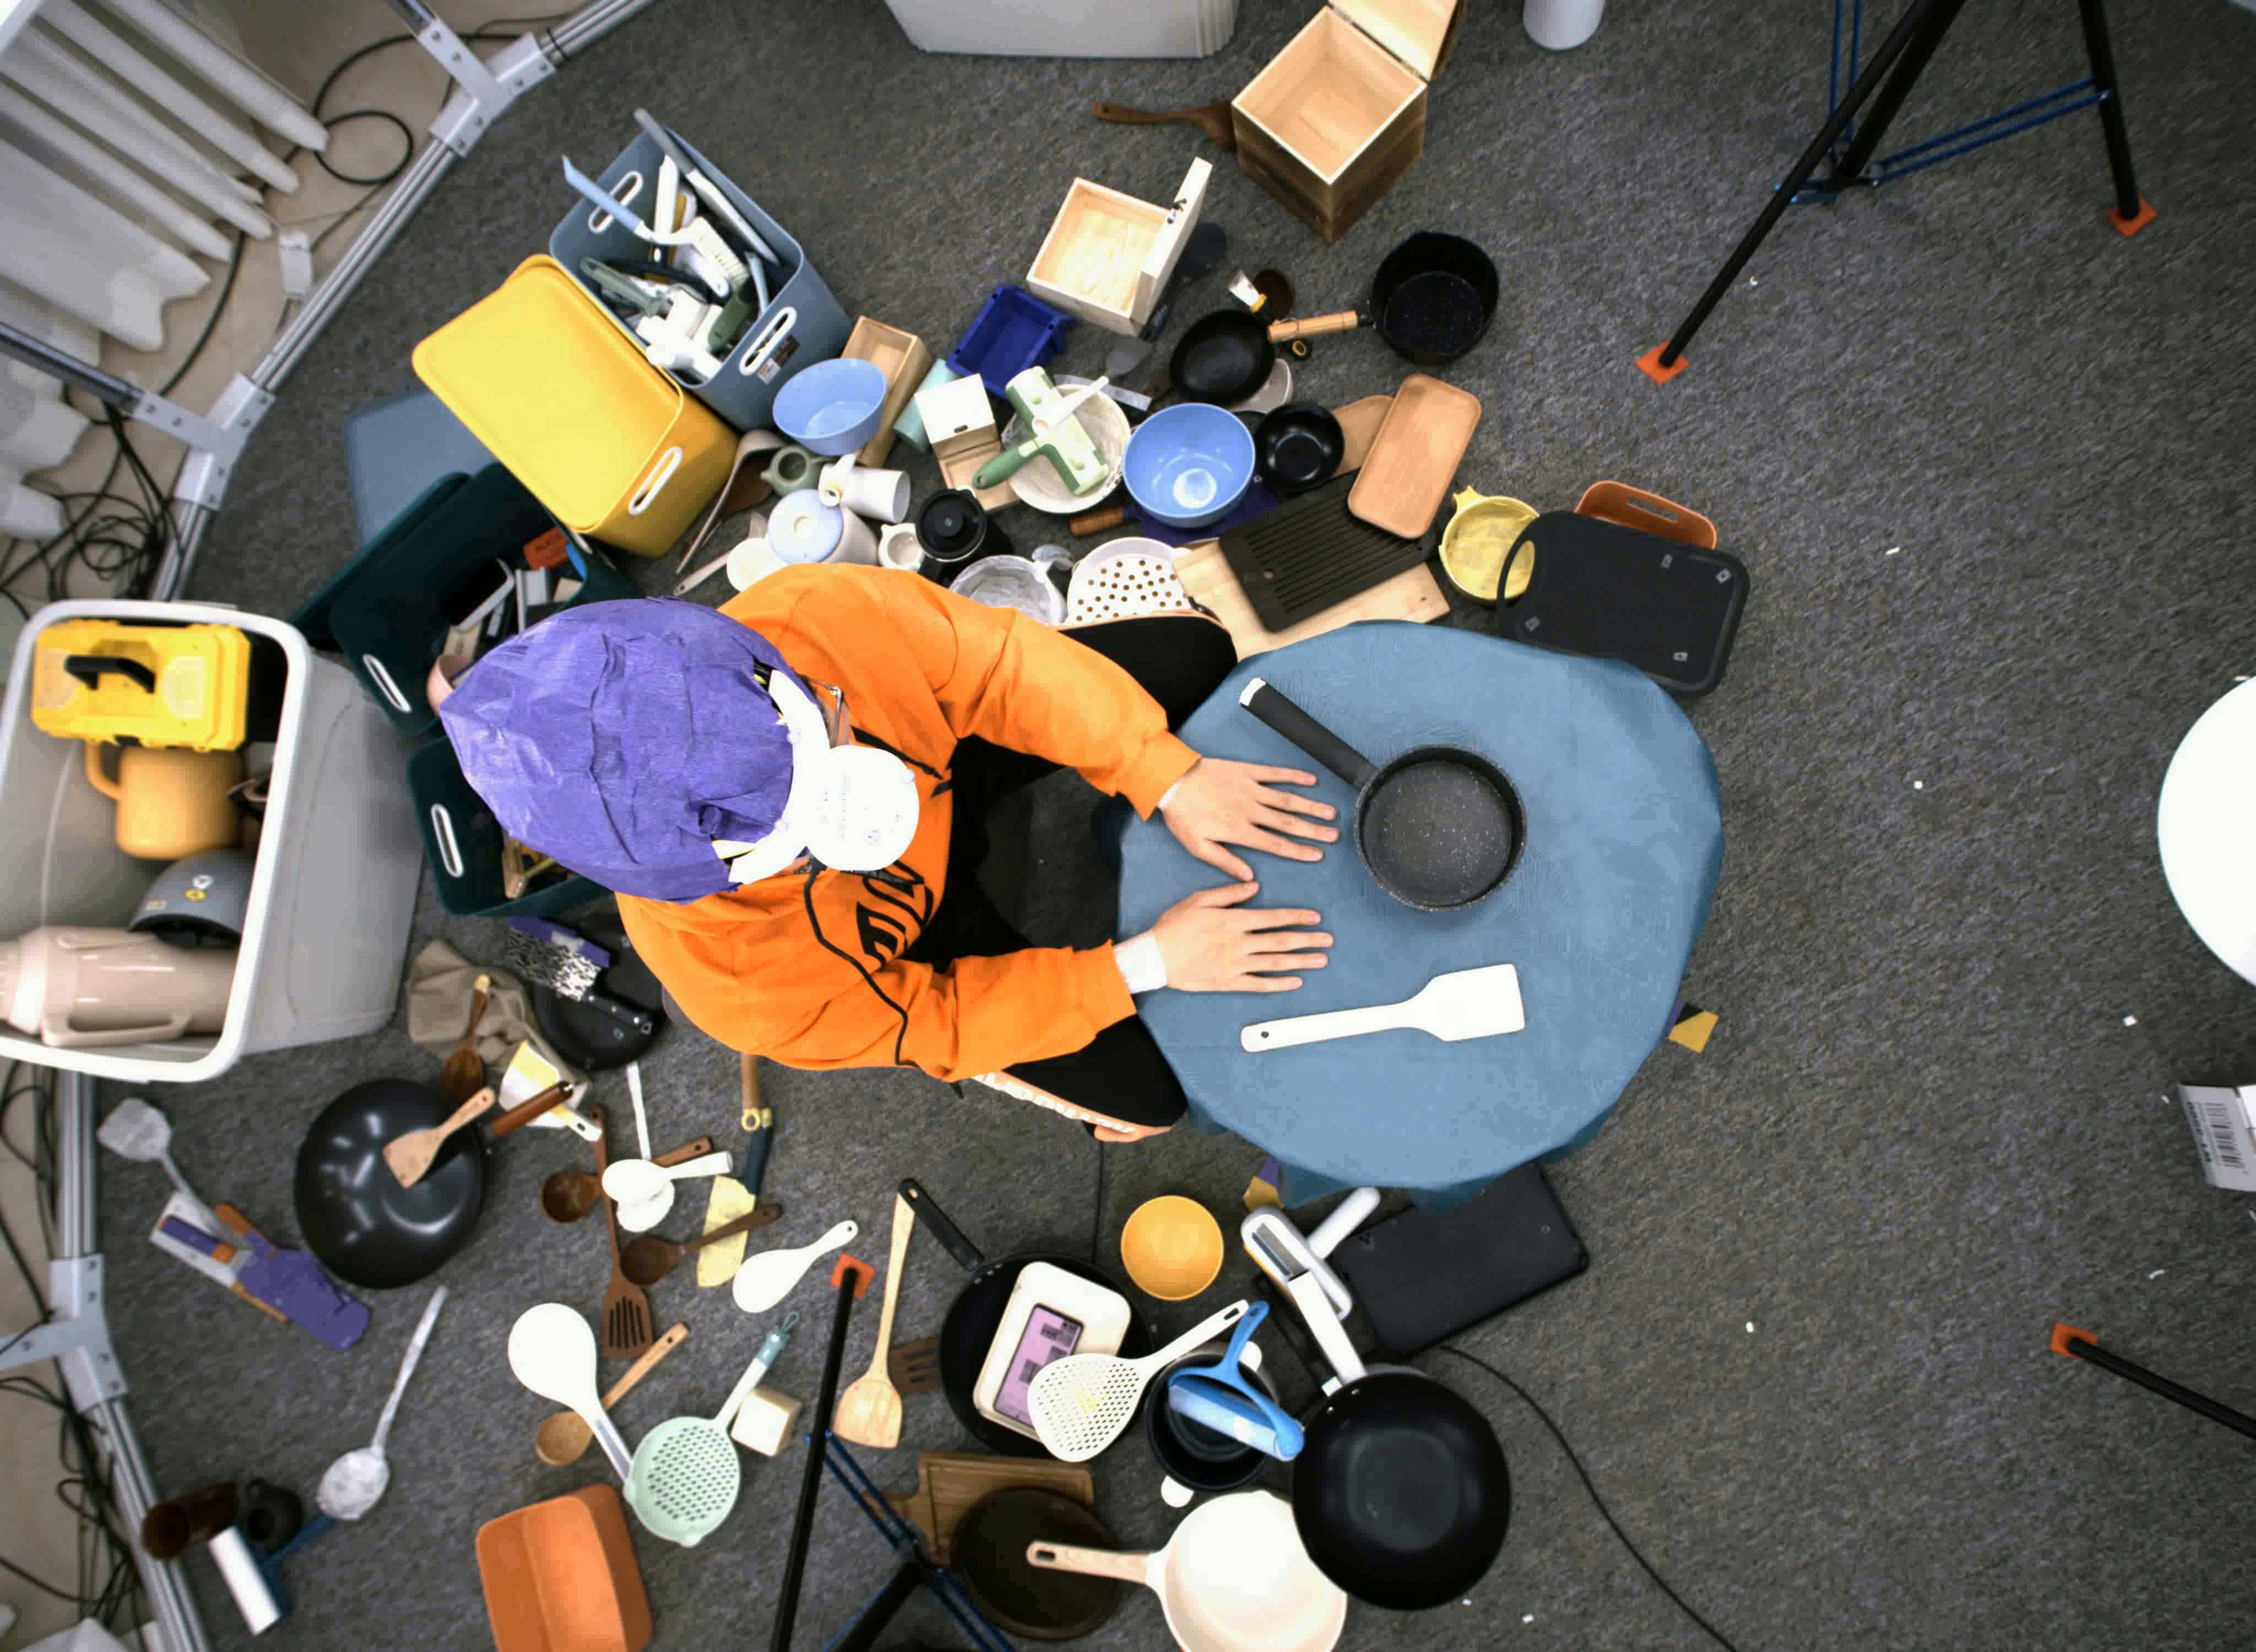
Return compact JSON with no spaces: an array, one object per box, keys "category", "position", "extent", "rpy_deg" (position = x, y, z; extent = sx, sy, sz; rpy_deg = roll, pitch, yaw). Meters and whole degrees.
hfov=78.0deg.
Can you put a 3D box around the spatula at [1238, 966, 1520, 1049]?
[{"category":"spatula","position":[0.260,0.201,1.450],"extent":[0.294,0.010,0.072],"rpy_deg":[-10,89,10]}]

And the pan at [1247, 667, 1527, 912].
[{"category":"pan","position":[0.258,-0.047,1.426],"extent":[0.328,0.086,0.172],"rpy_deg":[40,93,9]}]
